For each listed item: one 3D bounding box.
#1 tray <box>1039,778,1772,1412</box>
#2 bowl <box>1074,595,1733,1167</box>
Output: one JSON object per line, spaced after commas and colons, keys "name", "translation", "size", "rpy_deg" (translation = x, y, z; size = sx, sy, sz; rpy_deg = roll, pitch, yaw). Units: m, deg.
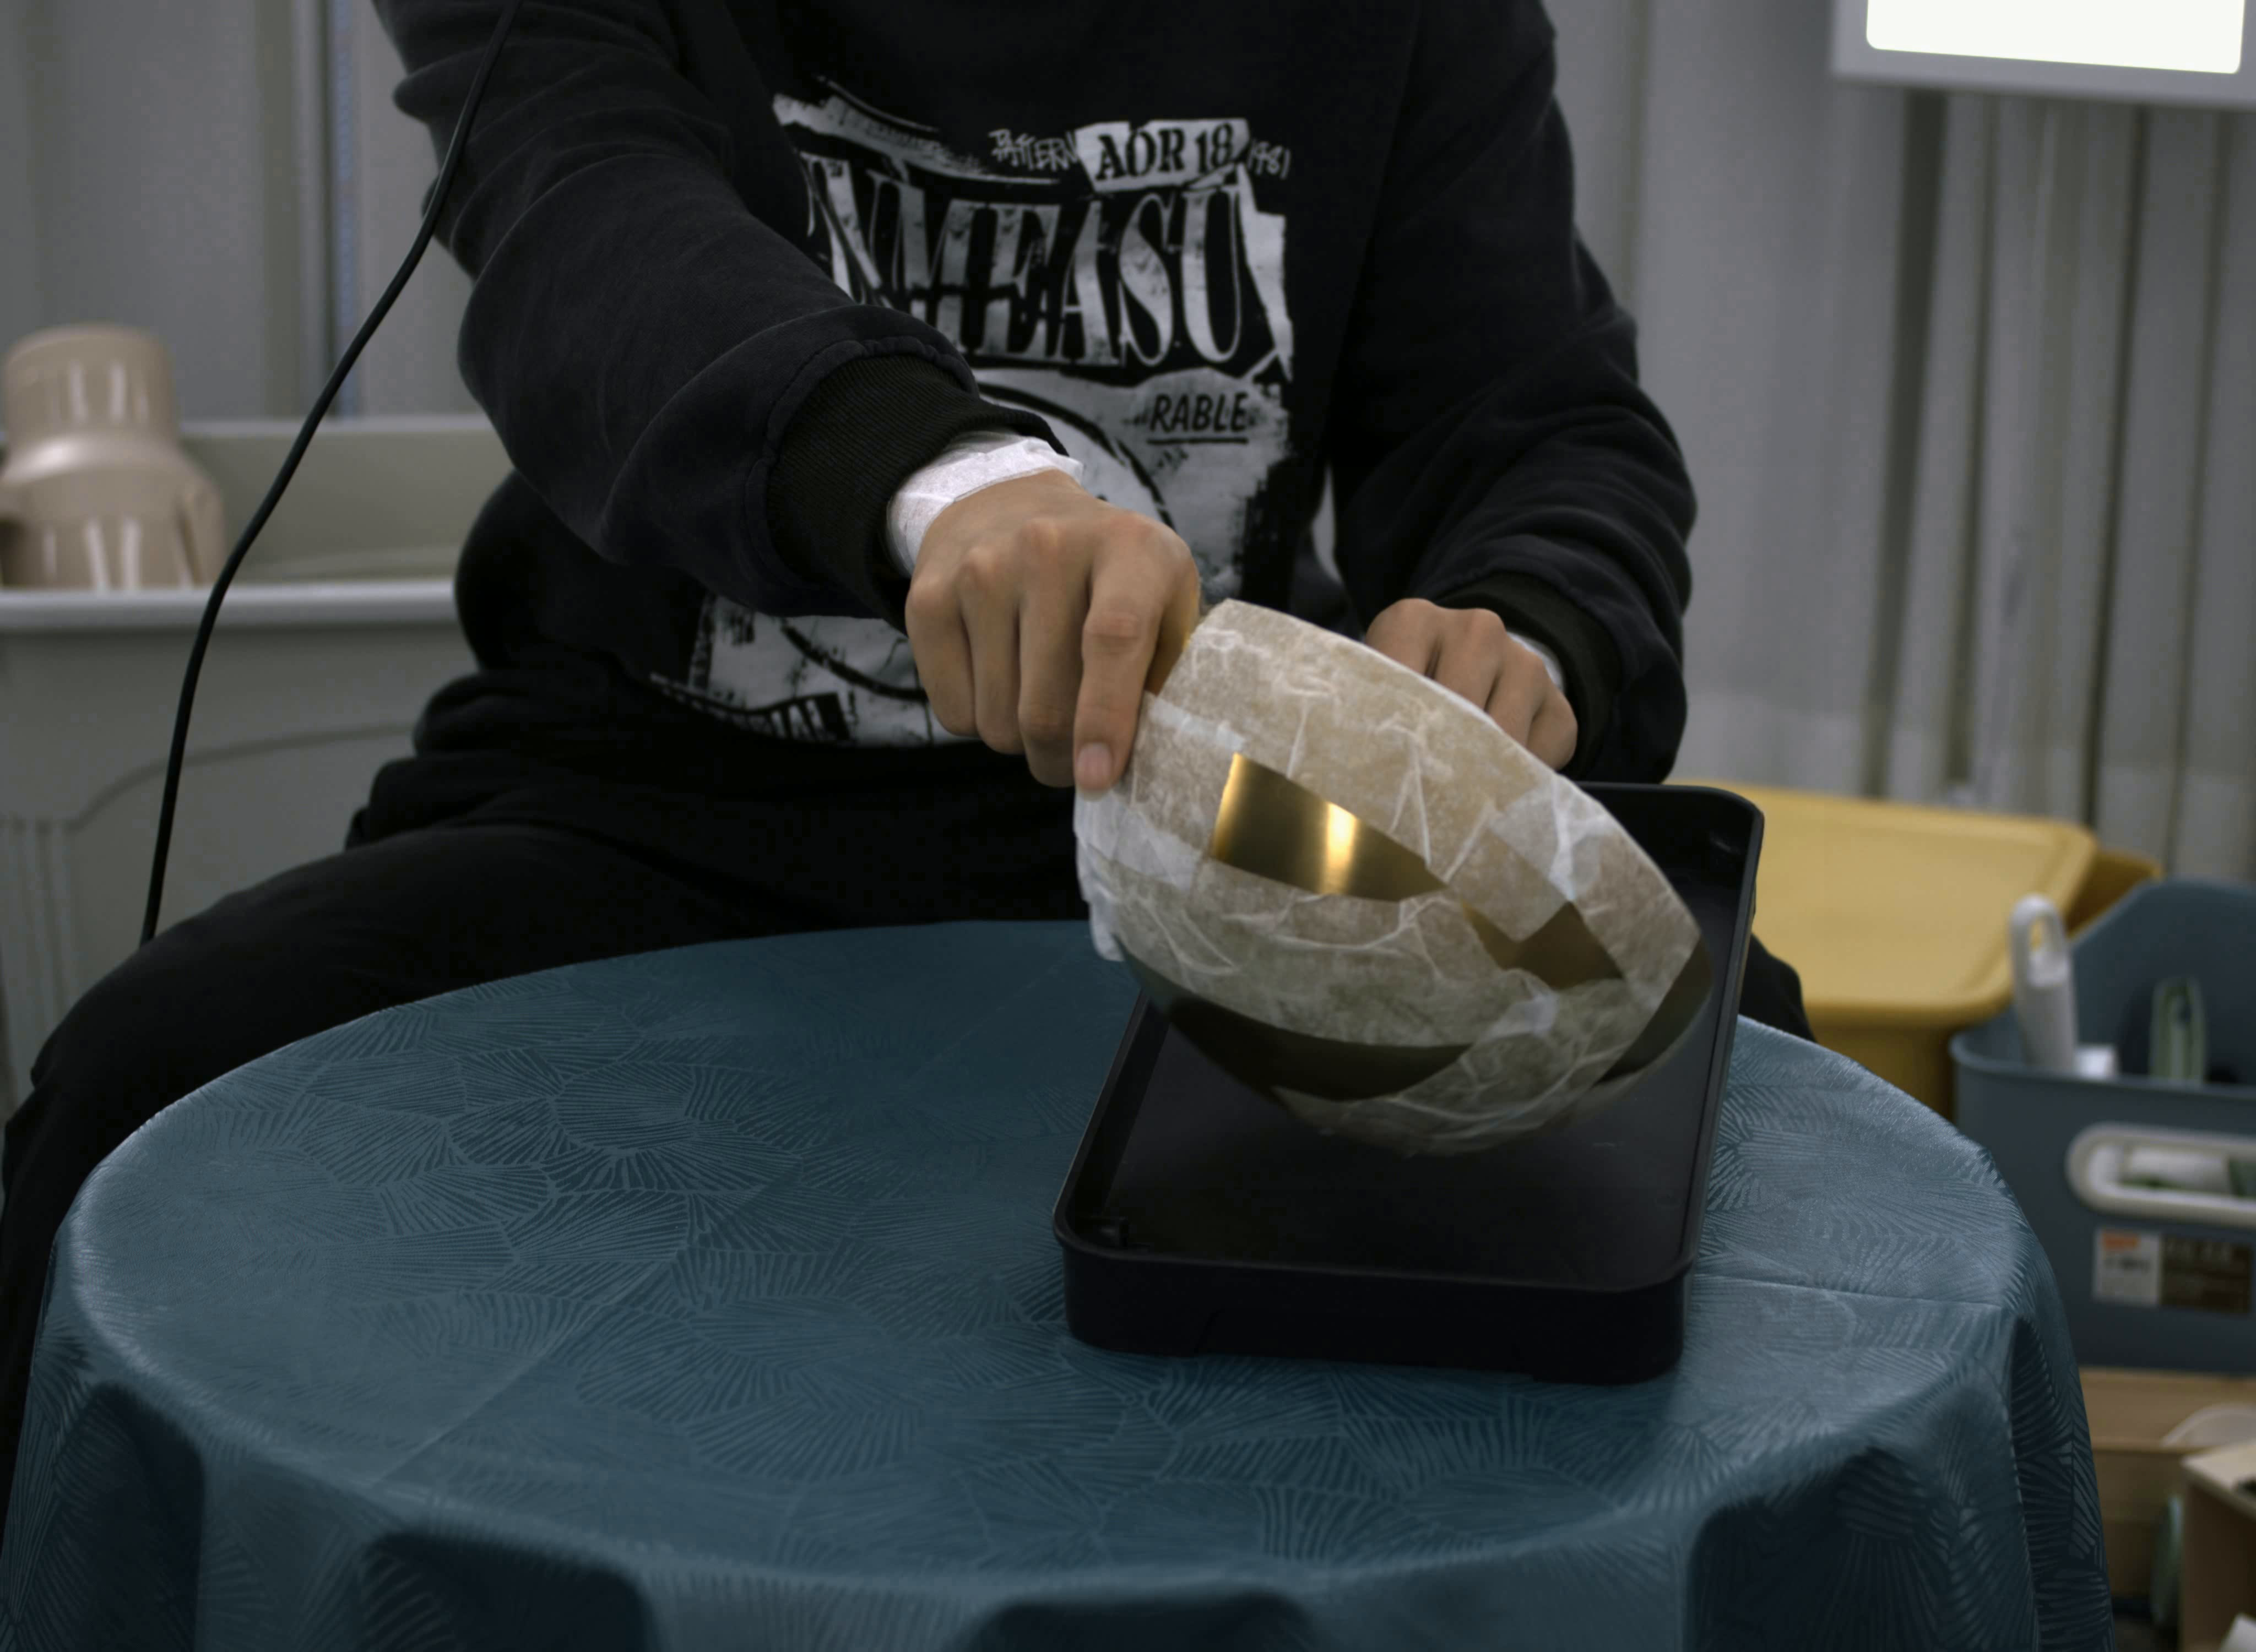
{"name": "tray", "translation": [0.092, 0.071, 1.612], "size": [0.183, 0.037, 0.316], "rpy_deg": [5, 29, 10]}
{"name": "bowl", "translation": [0.061, 0.035, 1.516], "size": [0.212, 0.218, 0.094], "rpy_deg": [18, 65, 44]}
